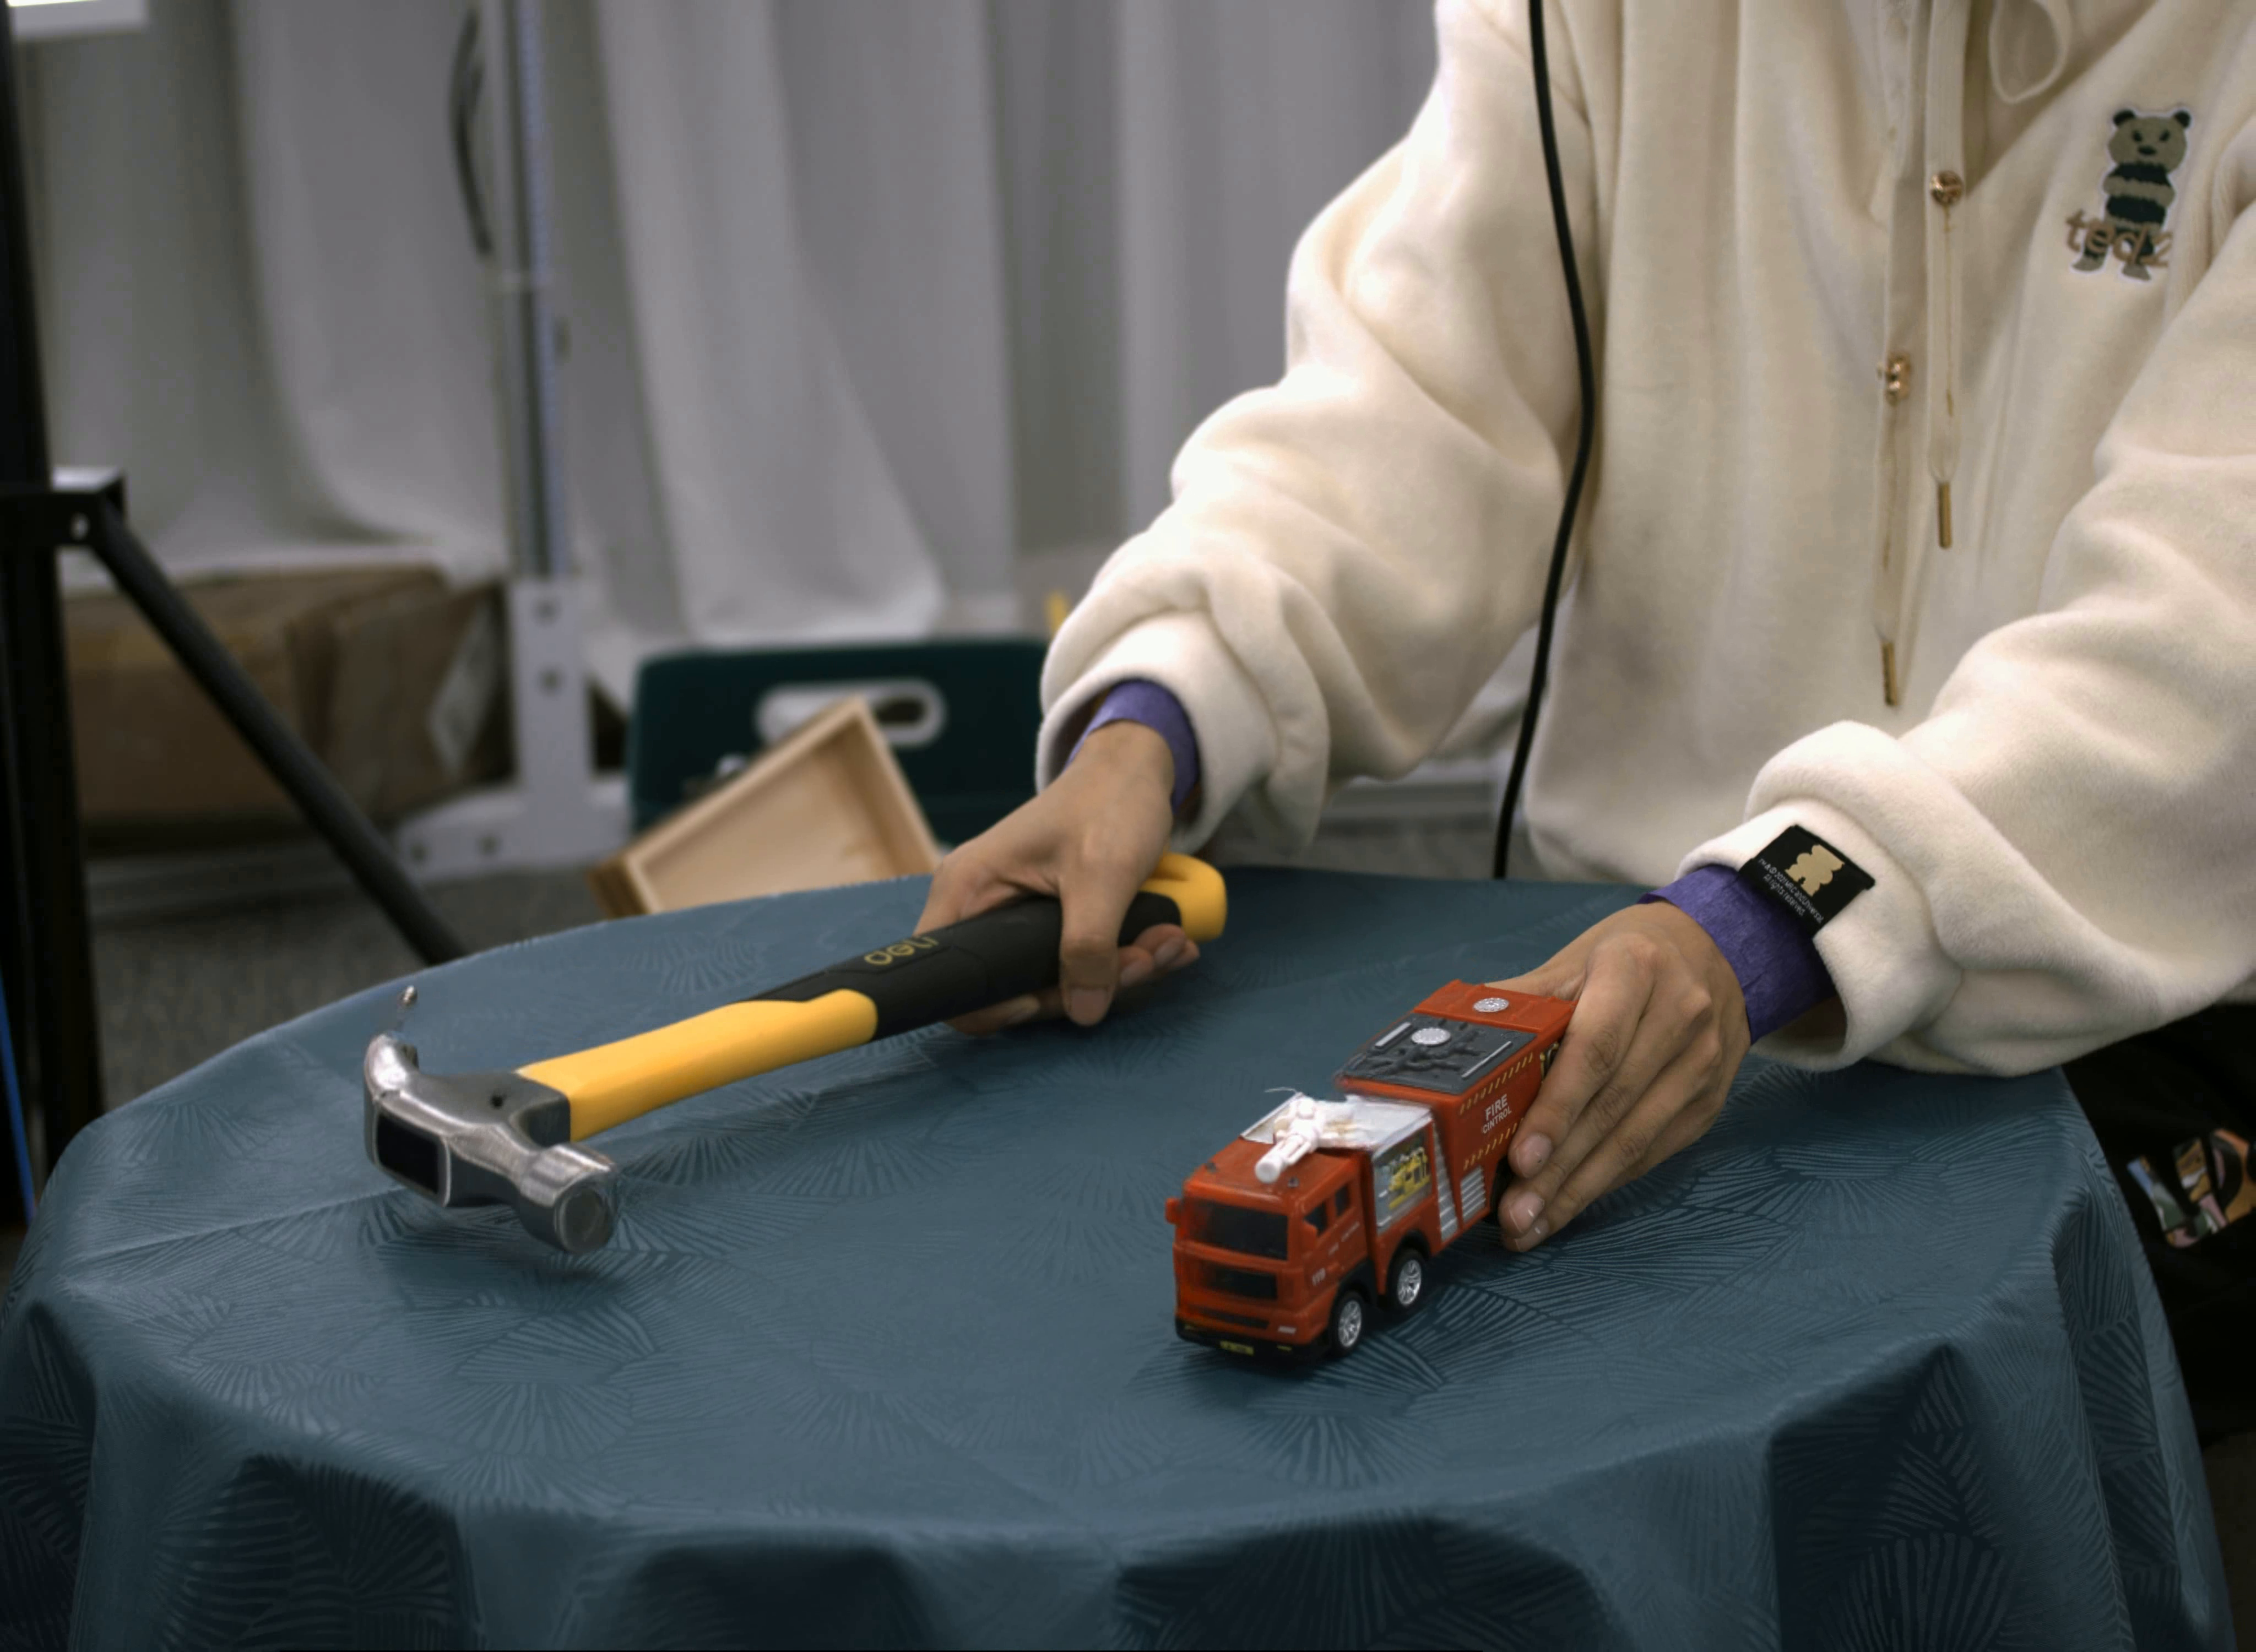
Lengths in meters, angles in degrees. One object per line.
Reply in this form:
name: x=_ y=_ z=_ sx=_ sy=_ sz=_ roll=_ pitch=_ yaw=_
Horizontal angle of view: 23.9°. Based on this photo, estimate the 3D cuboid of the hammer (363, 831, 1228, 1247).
hammer: x=-0.092 y=0.052 z=1.646 sx=0.134 sy=0.032 sz=0.331 roll=19 pitch=27 yaw=41

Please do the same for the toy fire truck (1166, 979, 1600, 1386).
toy fire truck: x=0.072 y=0.095 z=1.464 sx=0.055 sy=0.070 sz=0.165 roll=9 pitch=24 yaw=32
